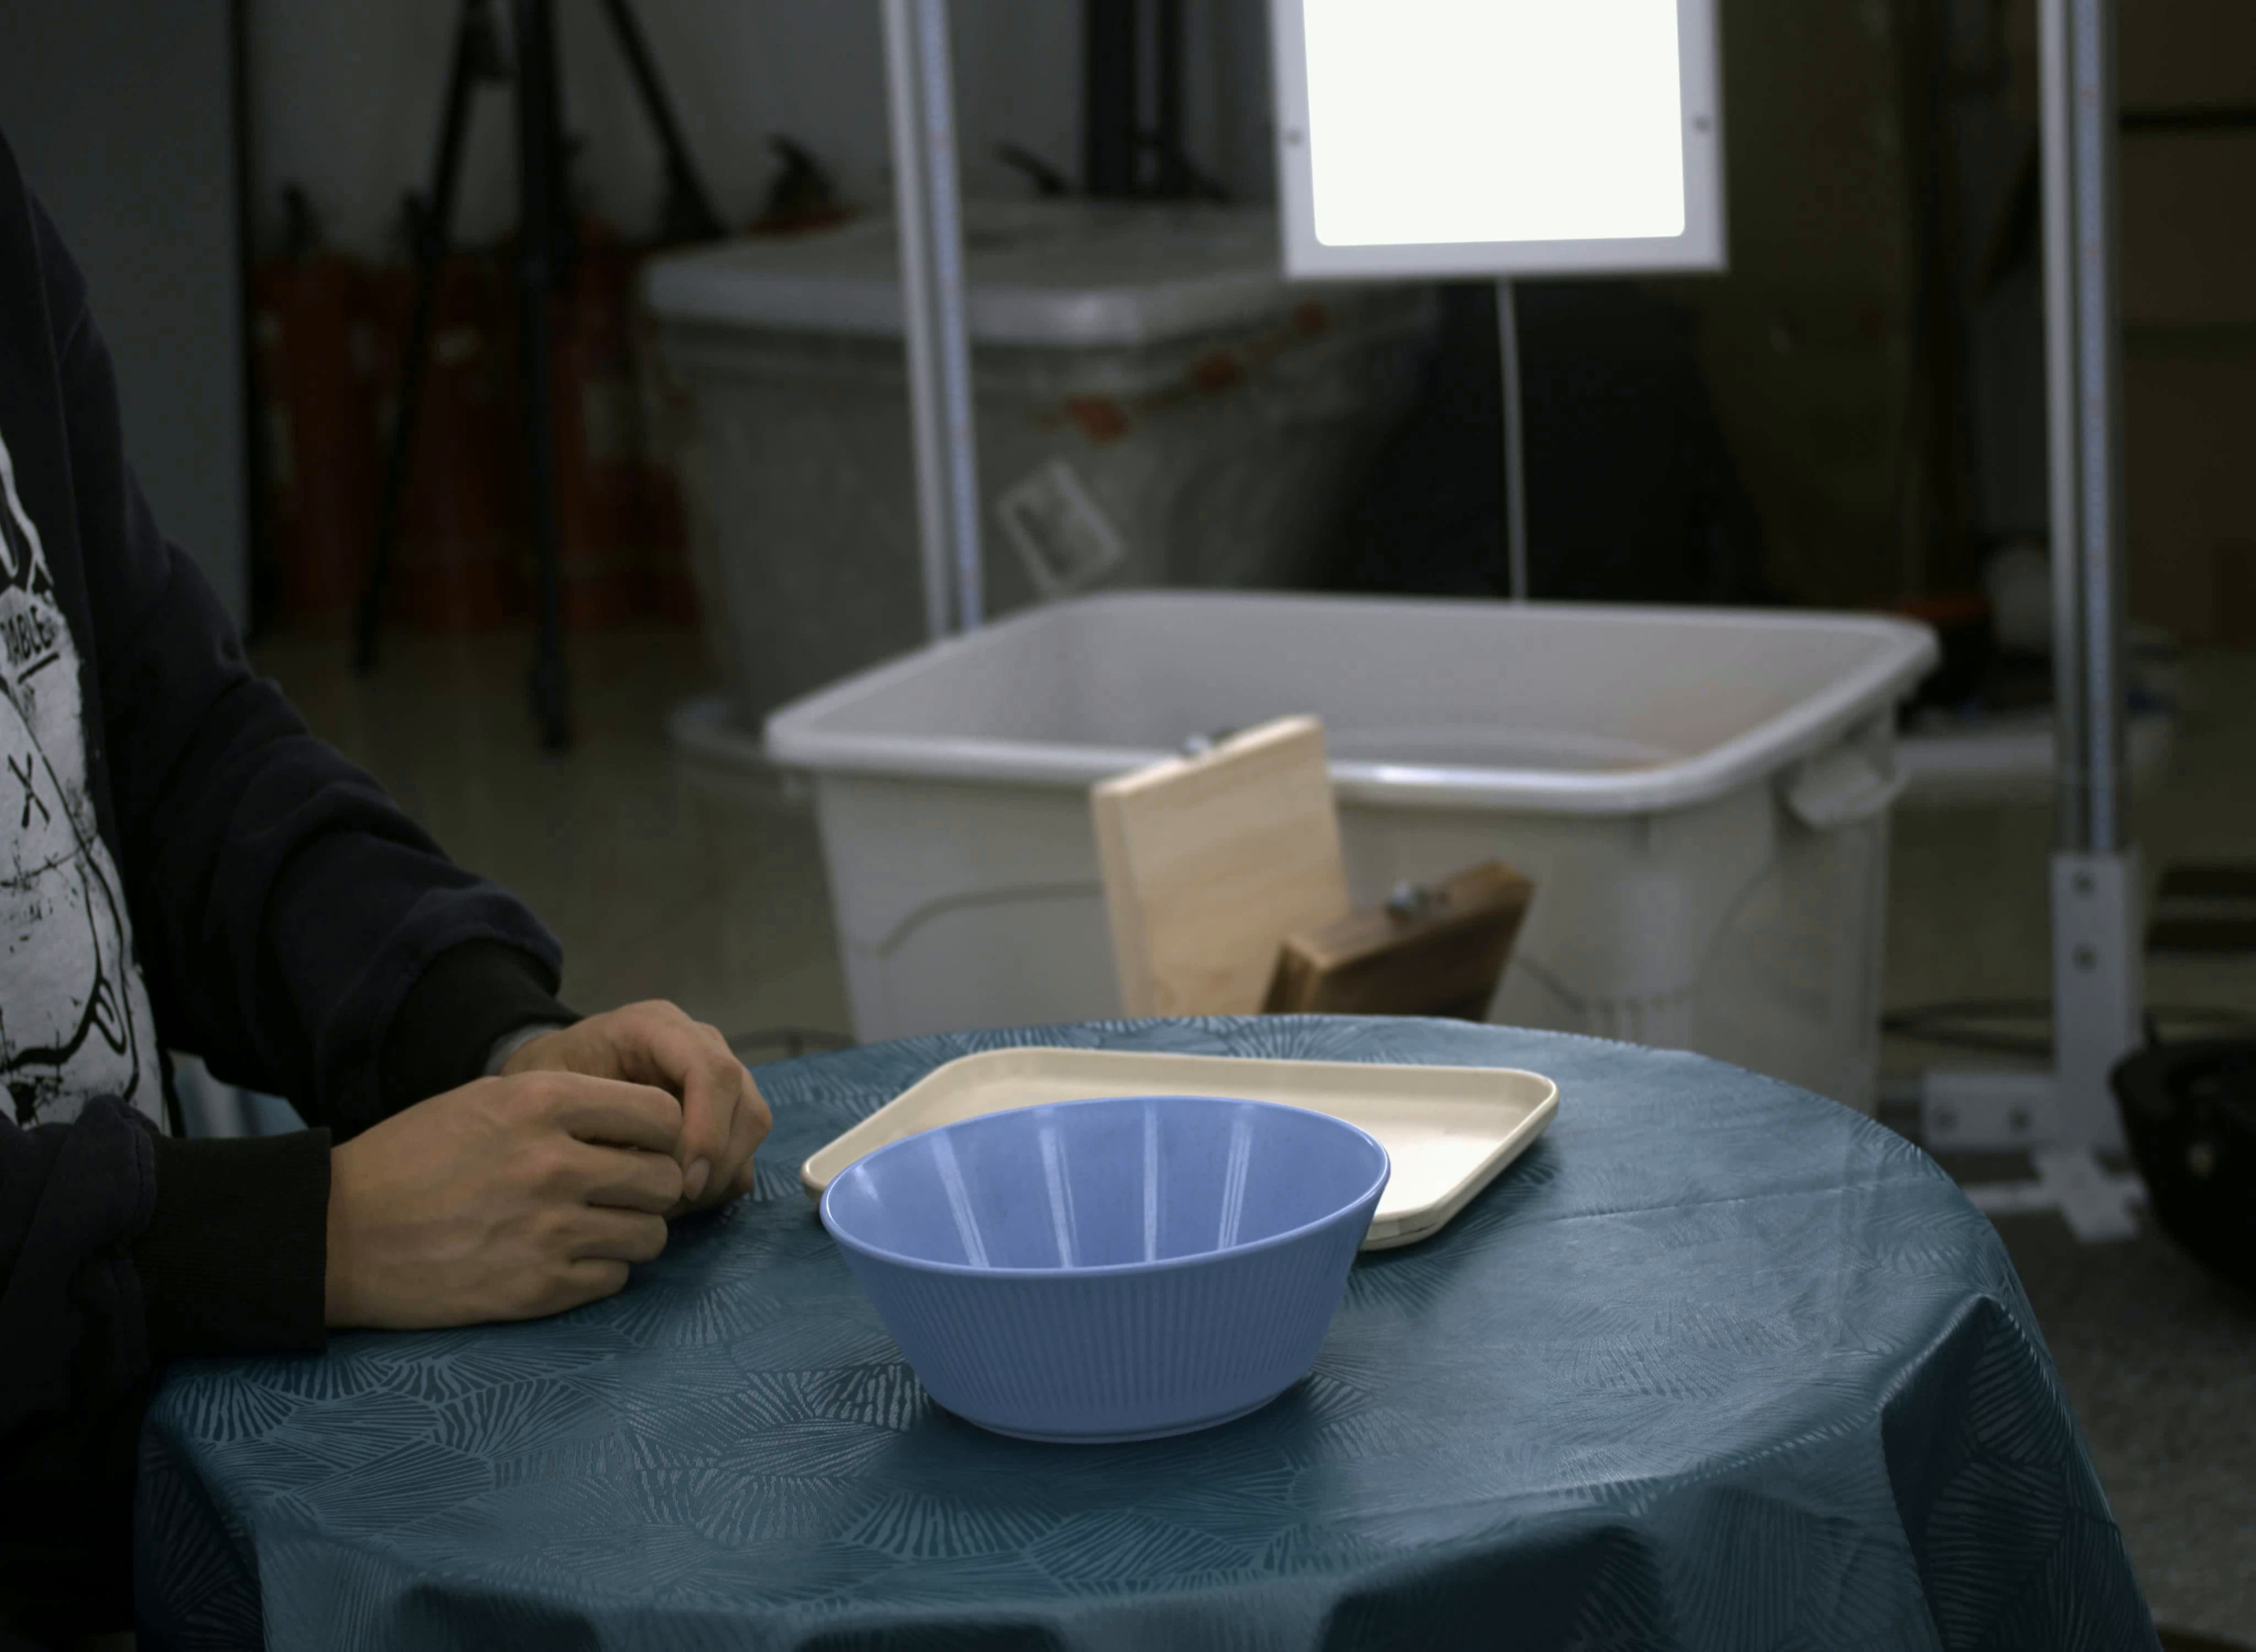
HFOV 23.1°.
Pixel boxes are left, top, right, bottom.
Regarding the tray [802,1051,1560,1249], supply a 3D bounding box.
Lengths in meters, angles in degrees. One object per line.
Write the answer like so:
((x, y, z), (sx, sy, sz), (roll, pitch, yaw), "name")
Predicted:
((0.020, 0.112, 1.912), (0.243, 0.017, 0.168), (1, 14, 25), "tray")

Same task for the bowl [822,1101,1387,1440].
((-0.005, 0.139, 1.697), (0.175, 0.070, 0.176), (-5, 13, 0), "bowl")
